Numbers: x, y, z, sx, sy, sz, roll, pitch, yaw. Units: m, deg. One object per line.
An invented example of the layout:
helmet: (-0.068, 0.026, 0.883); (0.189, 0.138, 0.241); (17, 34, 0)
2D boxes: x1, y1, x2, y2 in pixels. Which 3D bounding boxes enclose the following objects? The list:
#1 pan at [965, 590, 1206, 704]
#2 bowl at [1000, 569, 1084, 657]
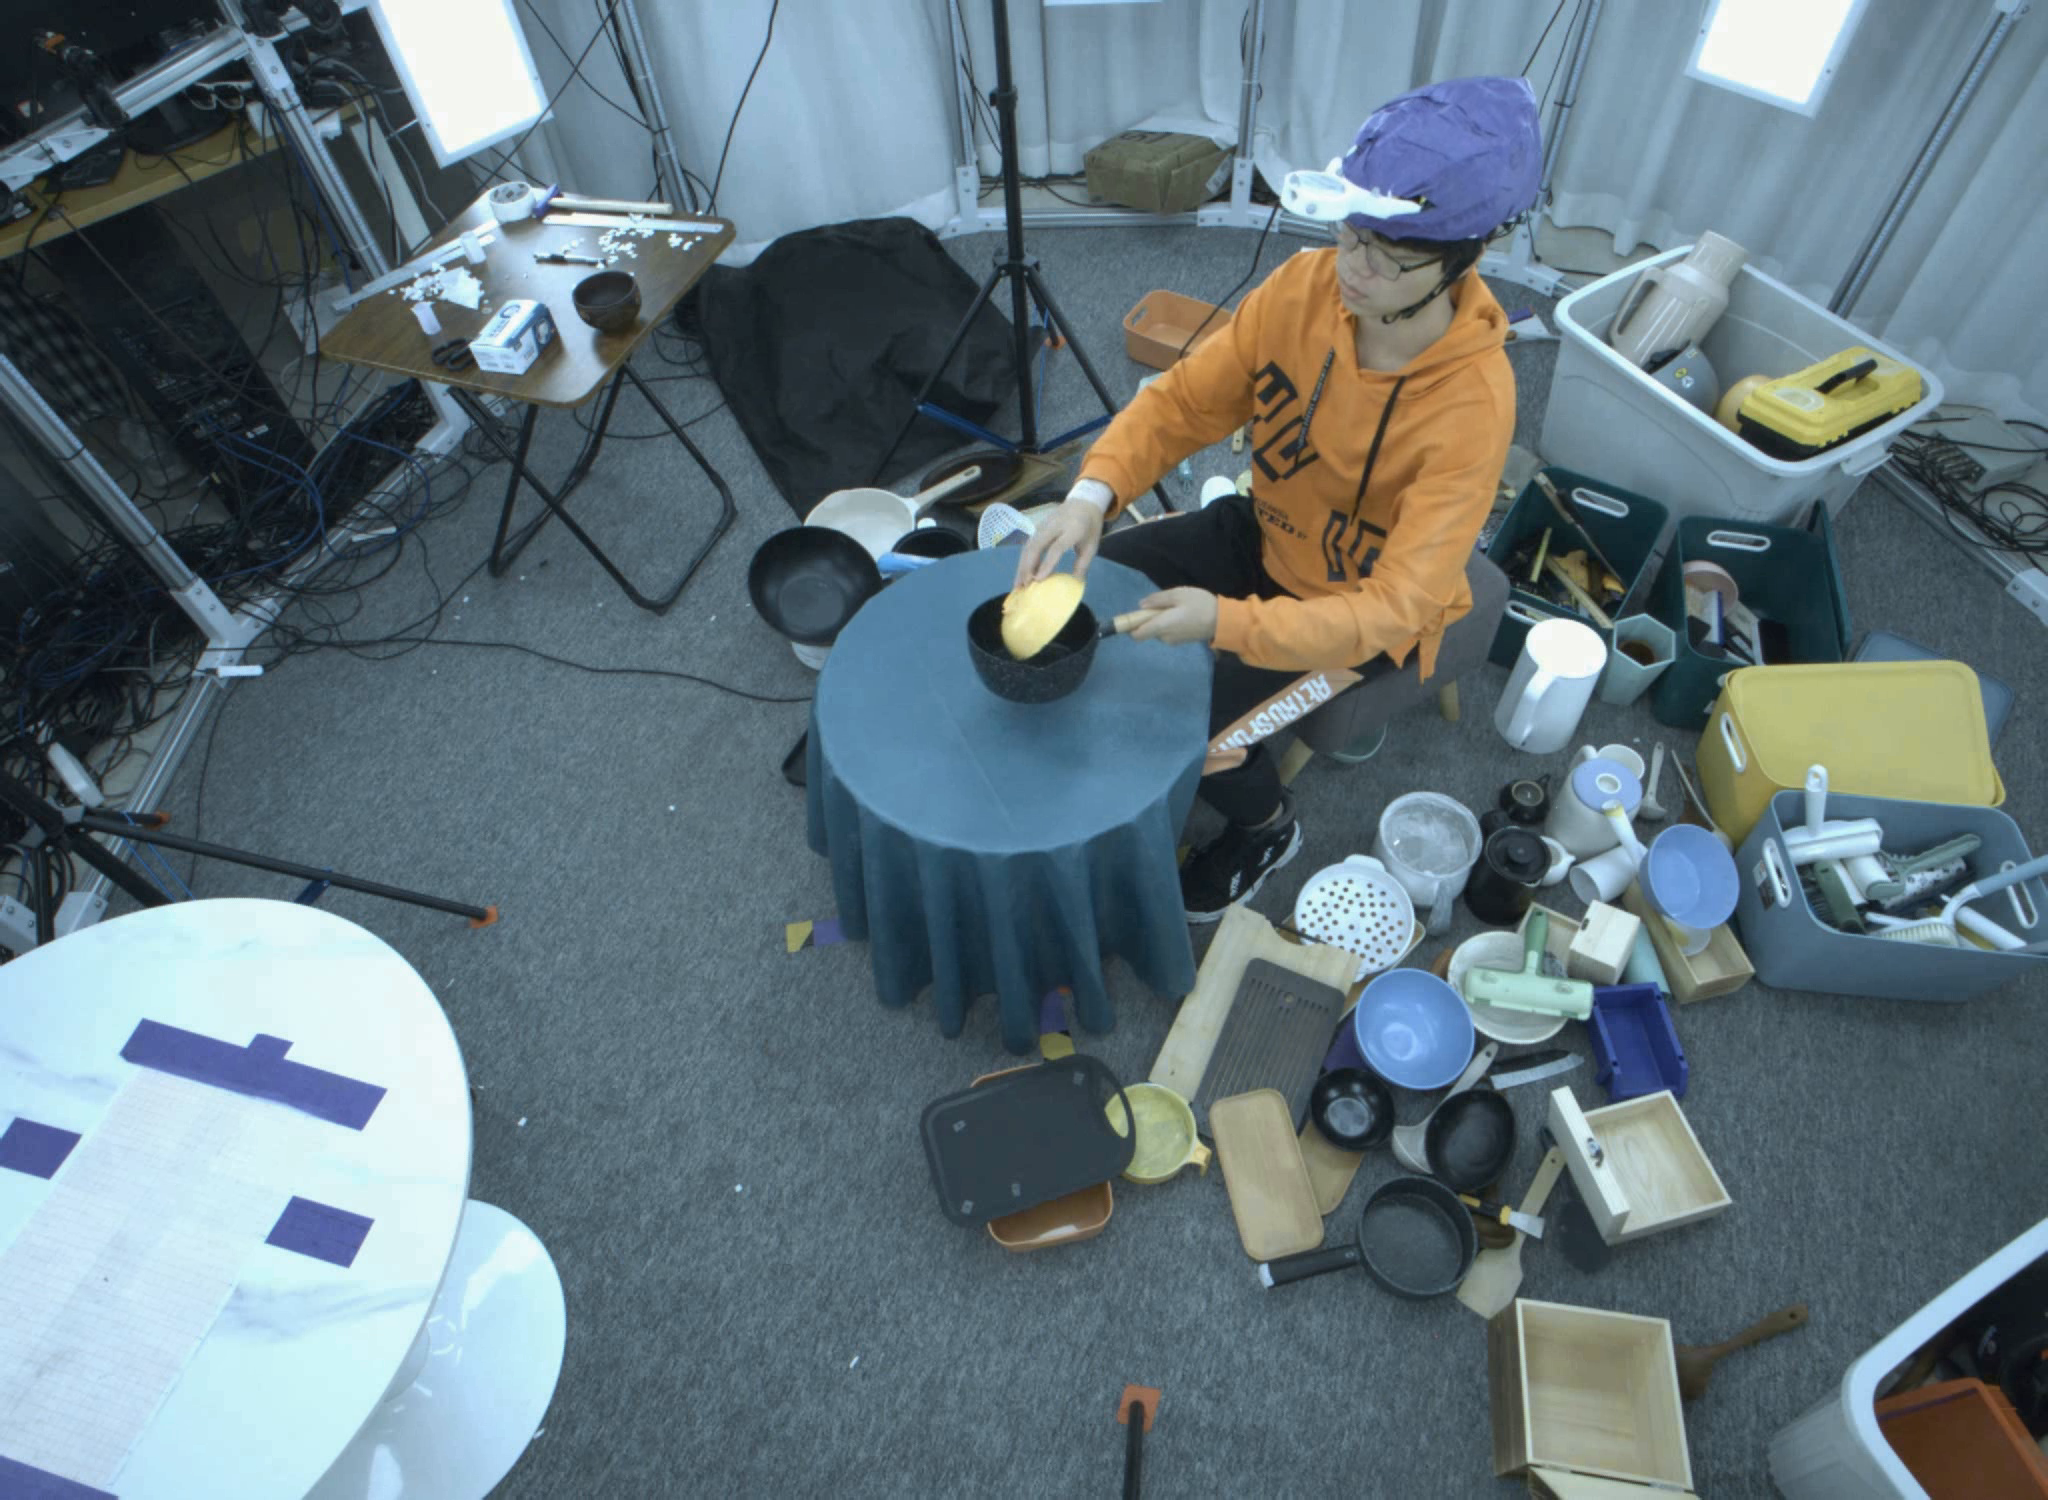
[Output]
pan: (0.089, -0.162, 1.750); (0.344, 0.109, 0.204); (-8, 41, -7)
bowl: (0.011, -0.200, 1.691); (0.061, 0.143, 0.145); (39, 56, -20)
